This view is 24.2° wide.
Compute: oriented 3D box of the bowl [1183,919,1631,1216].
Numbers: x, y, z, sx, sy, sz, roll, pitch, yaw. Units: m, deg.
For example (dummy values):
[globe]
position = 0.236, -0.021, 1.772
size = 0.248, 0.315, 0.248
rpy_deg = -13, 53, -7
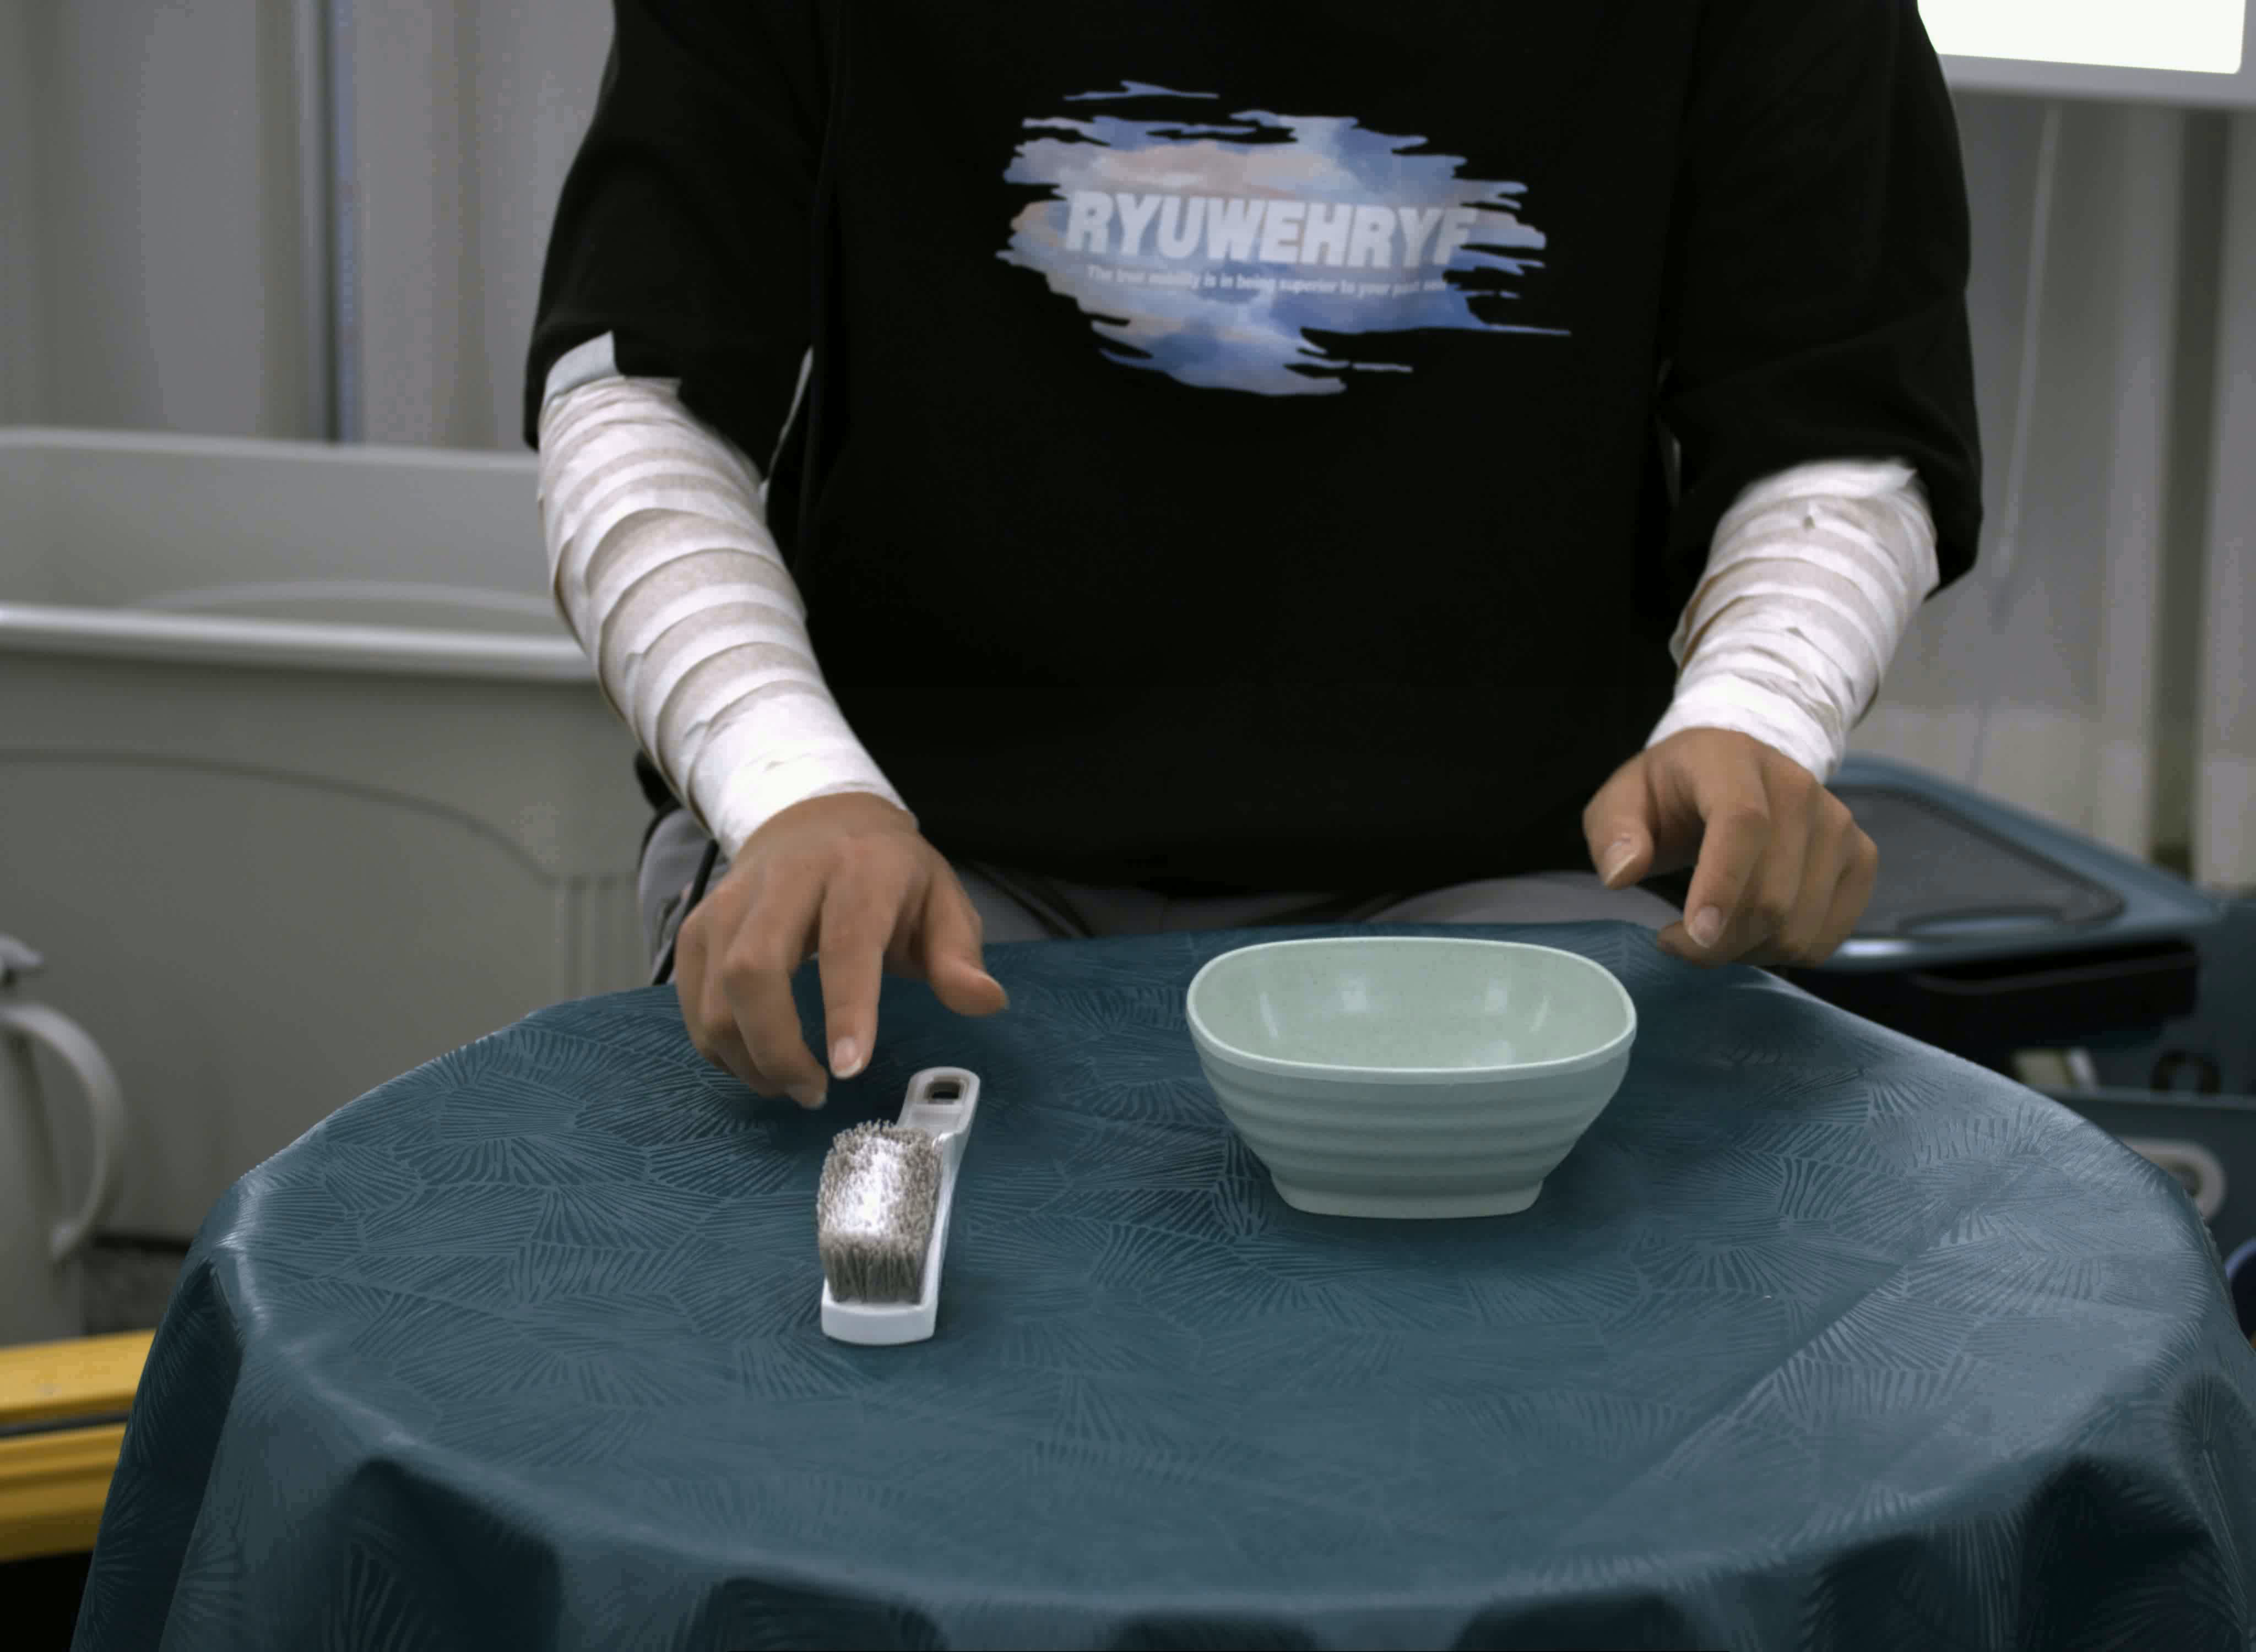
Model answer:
[bowl]
position = 0.085, 0.079, 1.634
size = 0.151, 0.059, 0.150
rpy_deg = 4, 18, -1

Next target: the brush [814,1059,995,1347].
[brush]
position = -0.064, 0.094, 1.592
size = 0.034, 0.050, 0.242
rpy_deg = 3, 16, 5
